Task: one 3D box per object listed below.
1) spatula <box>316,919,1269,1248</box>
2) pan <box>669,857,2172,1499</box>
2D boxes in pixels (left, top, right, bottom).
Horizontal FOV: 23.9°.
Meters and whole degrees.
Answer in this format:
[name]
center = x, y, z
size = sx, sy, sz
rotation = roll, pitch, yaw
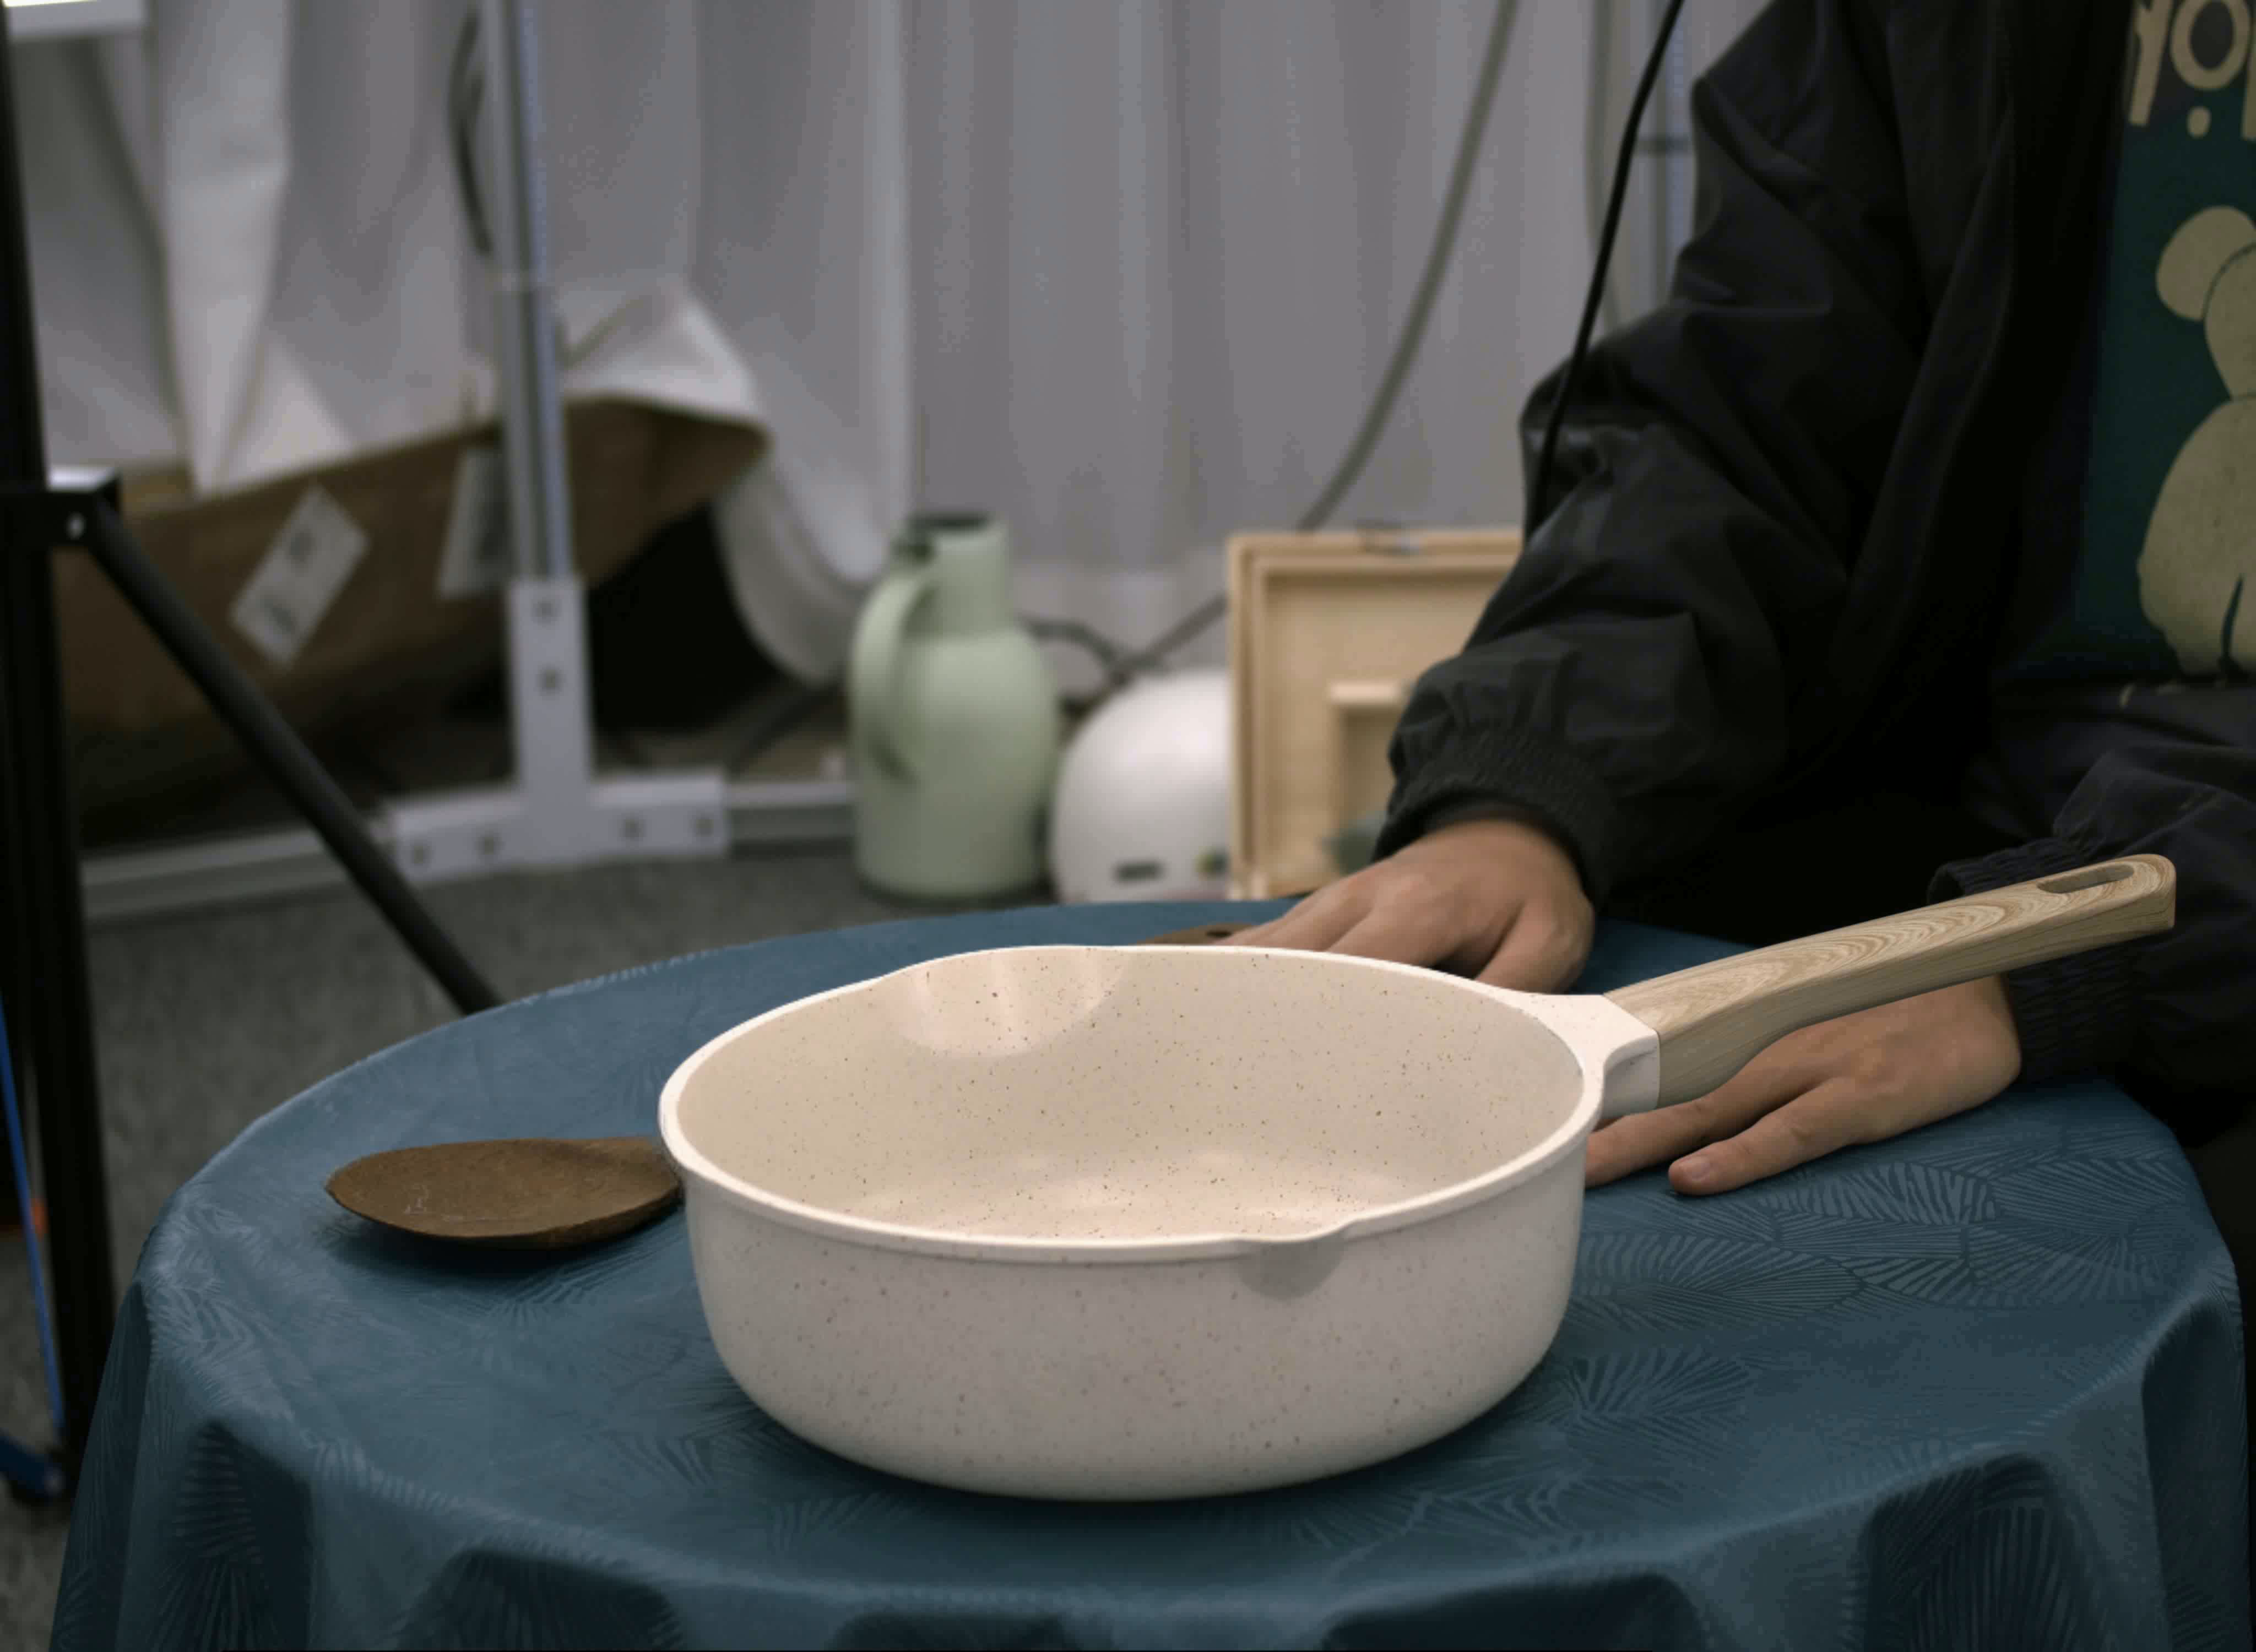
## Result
[spatula]
center = -0.085, 0.075, 1.662
size = 0.098, 0.016, 0.377
rotation = 13, 22, 42
[pan]
center = 0.092, 0.087, 1.430
size = 0.428, 0.102, 0.267
rotation = -8, 15, -16
